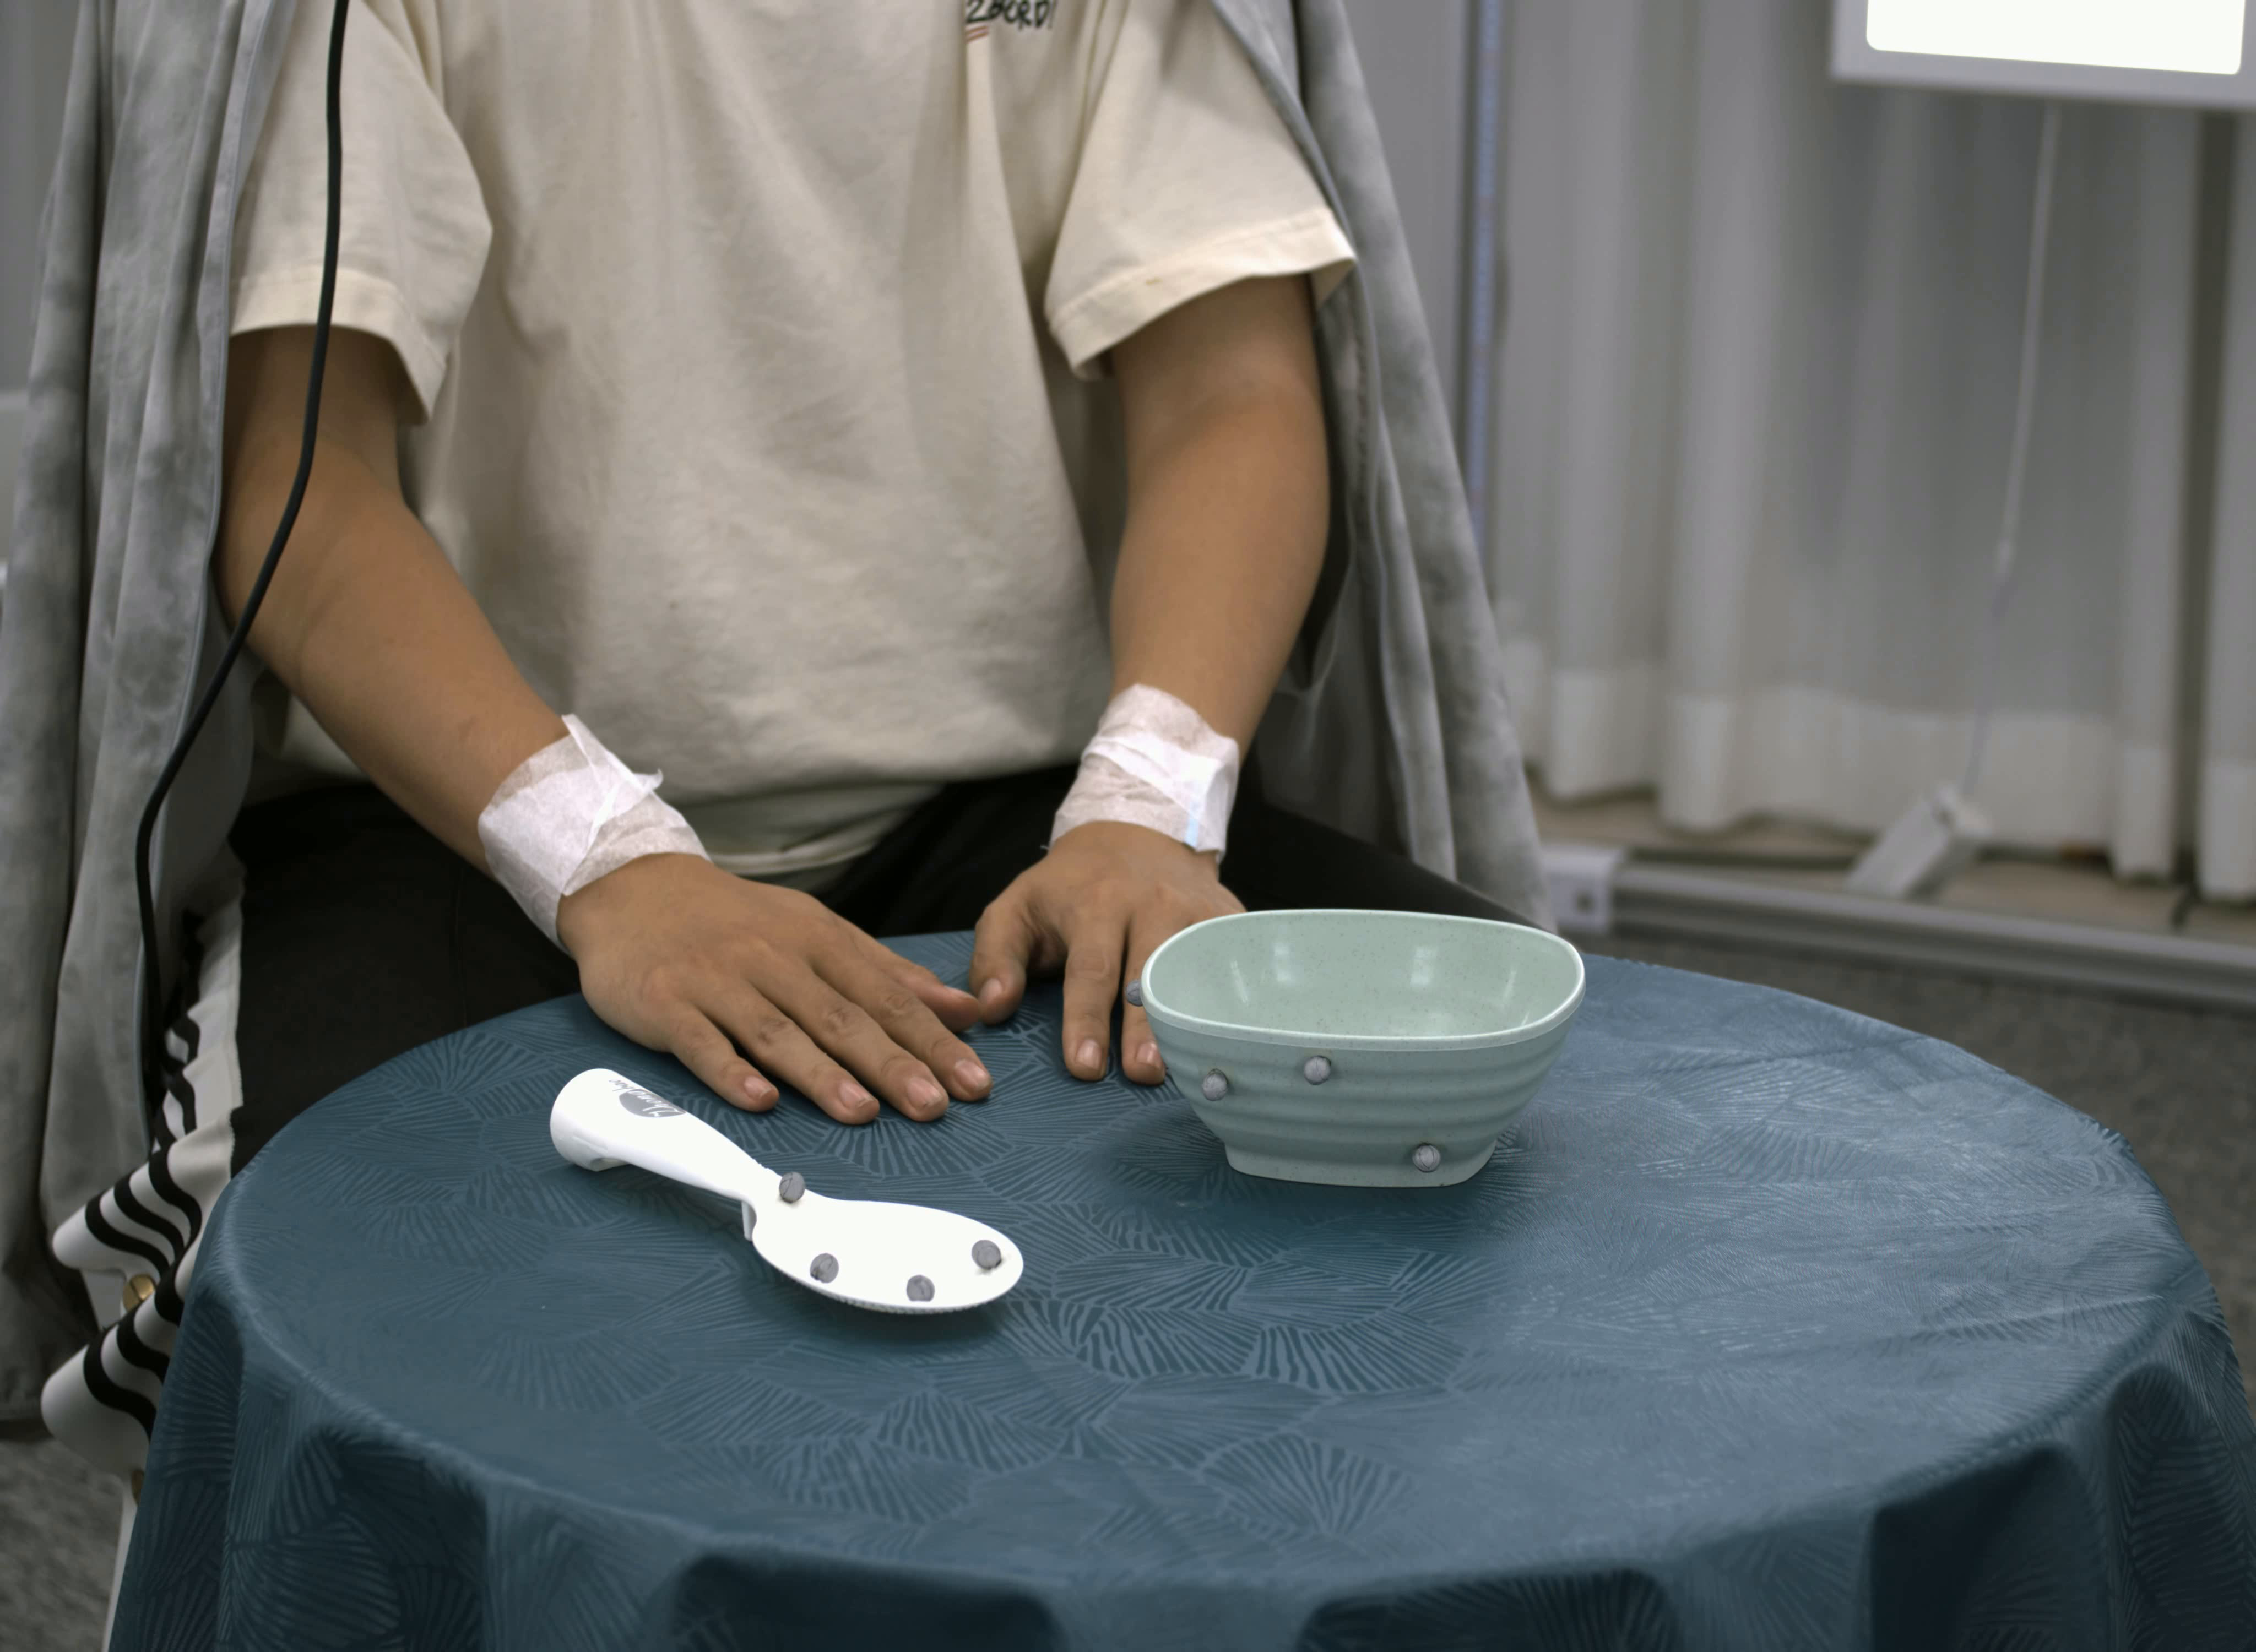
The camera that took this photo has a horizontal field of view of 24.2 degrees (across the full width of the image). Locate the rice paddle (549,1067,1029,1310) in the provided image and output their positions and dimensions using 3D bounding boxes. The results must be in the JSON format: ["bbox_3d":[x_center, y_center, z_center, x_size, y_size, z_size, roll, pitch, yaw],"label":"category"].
[{"bbox_3d":[-0.104,0.110,1.573,0.069,0.029,0.202,-14,21,-37],"label":"rice paddle"}]

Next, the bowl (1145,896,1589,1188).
[{"bbox_3d":[0.076,0.071,1.663,0.151,0.059,0.150,-2,18,1],"label":"bowl"}]
